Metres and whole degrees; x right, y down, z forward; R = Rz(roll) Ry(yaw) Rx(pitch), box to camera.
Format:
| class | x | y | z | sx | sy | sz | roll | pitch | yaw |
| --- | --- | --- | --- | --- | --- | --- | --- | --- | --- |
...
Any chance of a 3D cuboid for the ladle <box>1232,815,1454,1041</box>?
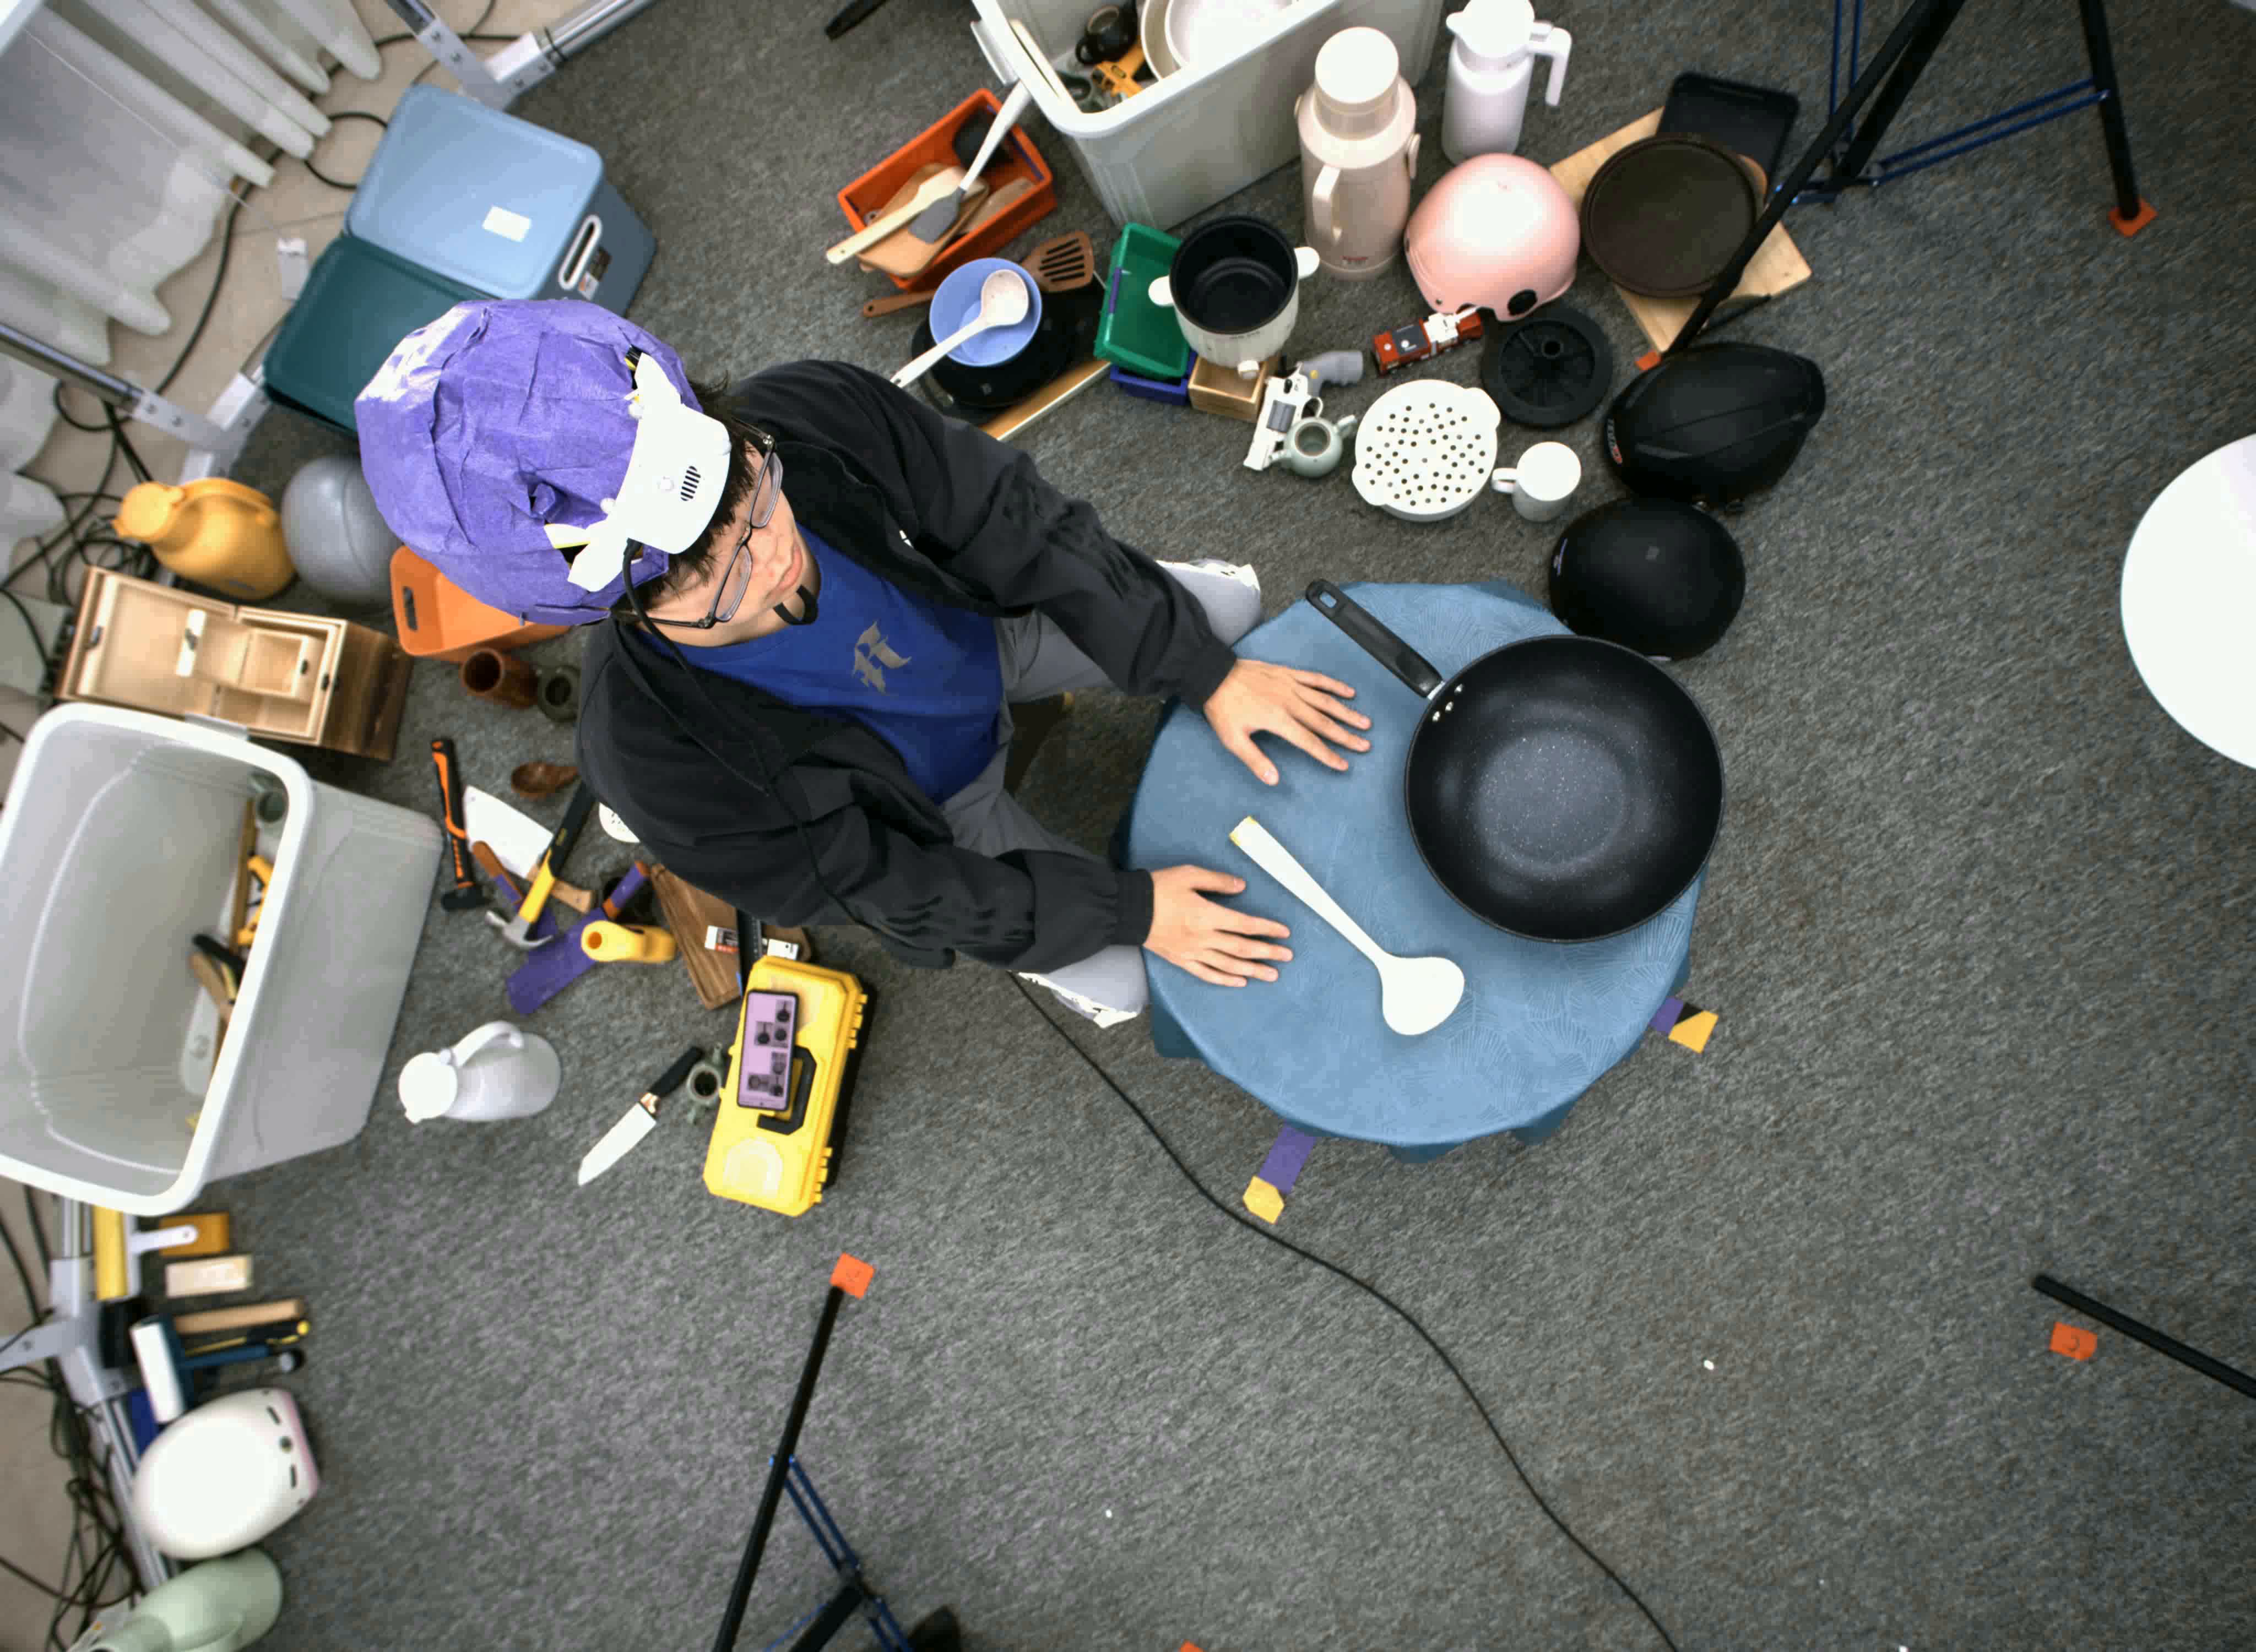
| class | x | y | z | sx | sy | sz | roll | pitch | yaw |
| --- | --- | --- | --- | --- | --- | --- | --- | --- | --- |
| ladle | 0.216 | 0.097 | 1.435 | 0.091 | 0.070 | 0.291 | -45 | 78 | 8 |

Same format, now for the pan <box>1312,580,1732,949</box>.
| class | x | y | z | sx | sy | sz | roll | pitch | yaw |
| --- | --- | --- | --- | --- | --- | --- | --- | --- | --- |
| pan | 0.377 | -0.086 | 1.393 | 0.475 | 0.112 | 0.311 | 40 | 93 | 9 |
